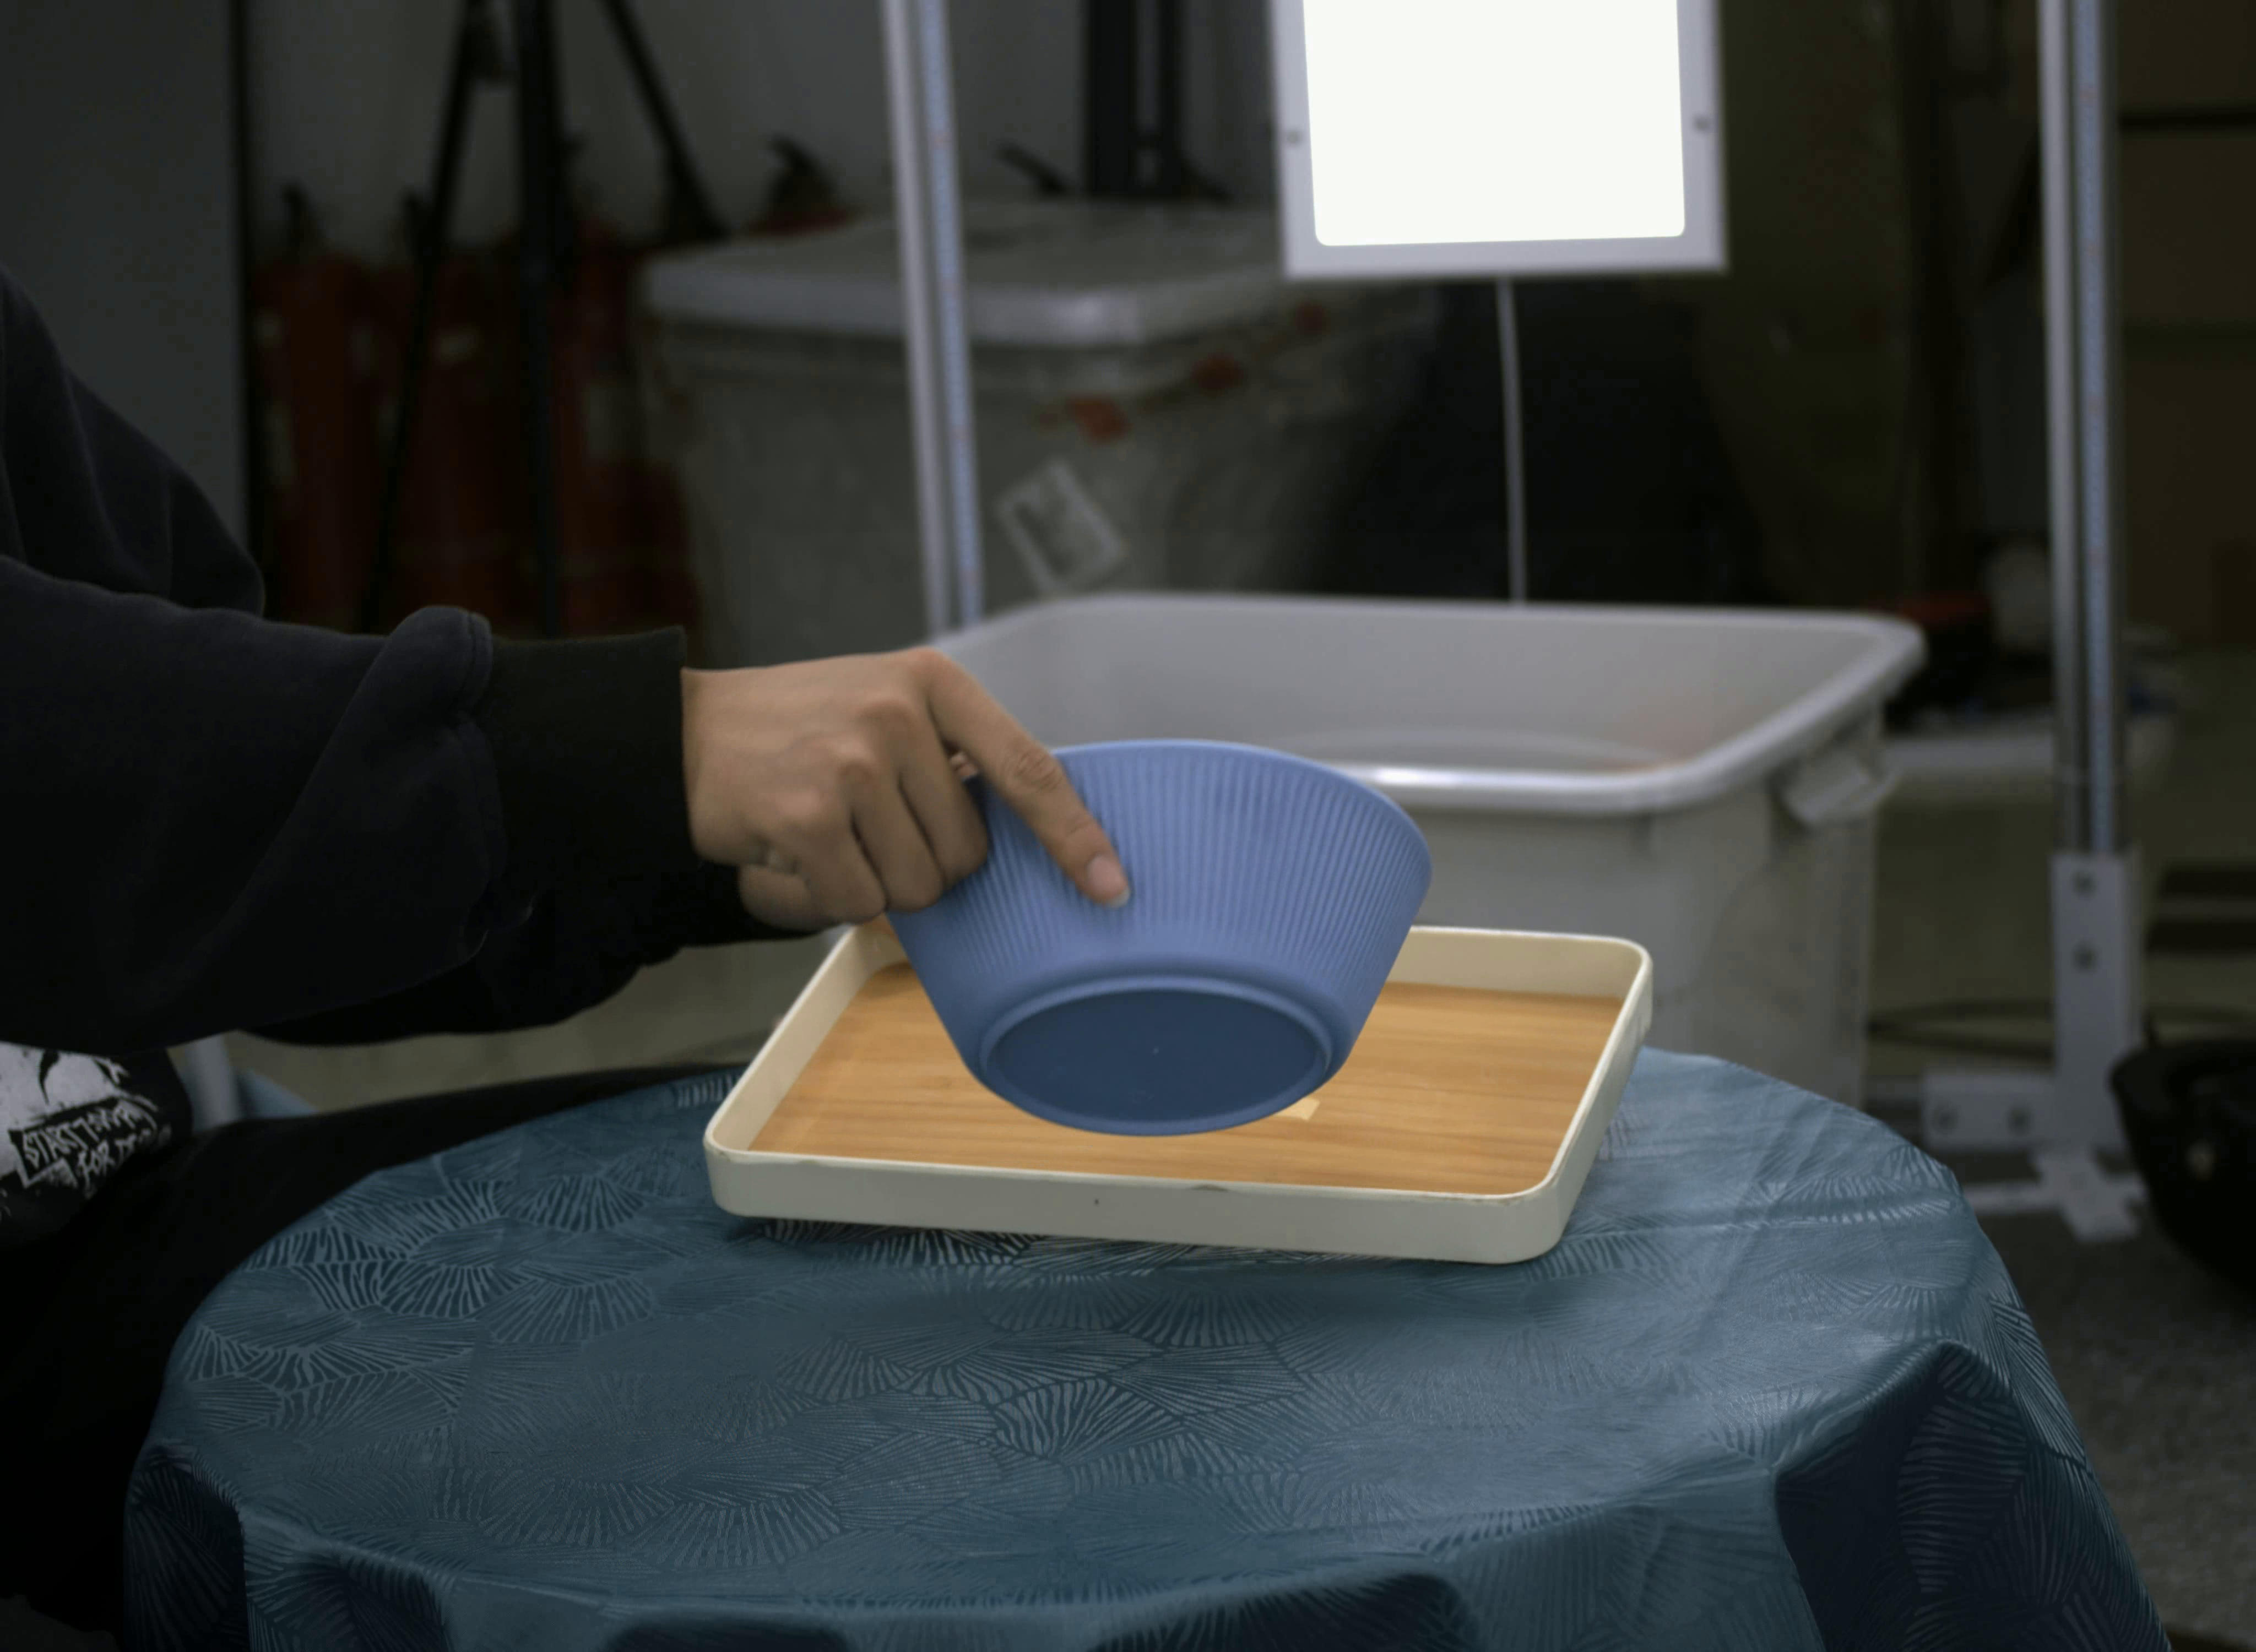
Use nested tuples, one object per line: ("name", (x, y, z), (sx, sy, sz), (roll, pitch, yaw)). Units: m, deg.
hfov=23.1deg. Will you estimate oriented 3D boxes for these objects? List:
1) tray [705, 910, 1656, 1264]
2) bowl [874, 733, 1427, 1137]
("tray", (0.021, 0.087, 1.906), (0.304, 0.027, 0.188), (2, 27, 19))
("bowl", (0.007, 0.043, 1.721), (0.175, 0.070, 0.177), (2, -28, -1))
